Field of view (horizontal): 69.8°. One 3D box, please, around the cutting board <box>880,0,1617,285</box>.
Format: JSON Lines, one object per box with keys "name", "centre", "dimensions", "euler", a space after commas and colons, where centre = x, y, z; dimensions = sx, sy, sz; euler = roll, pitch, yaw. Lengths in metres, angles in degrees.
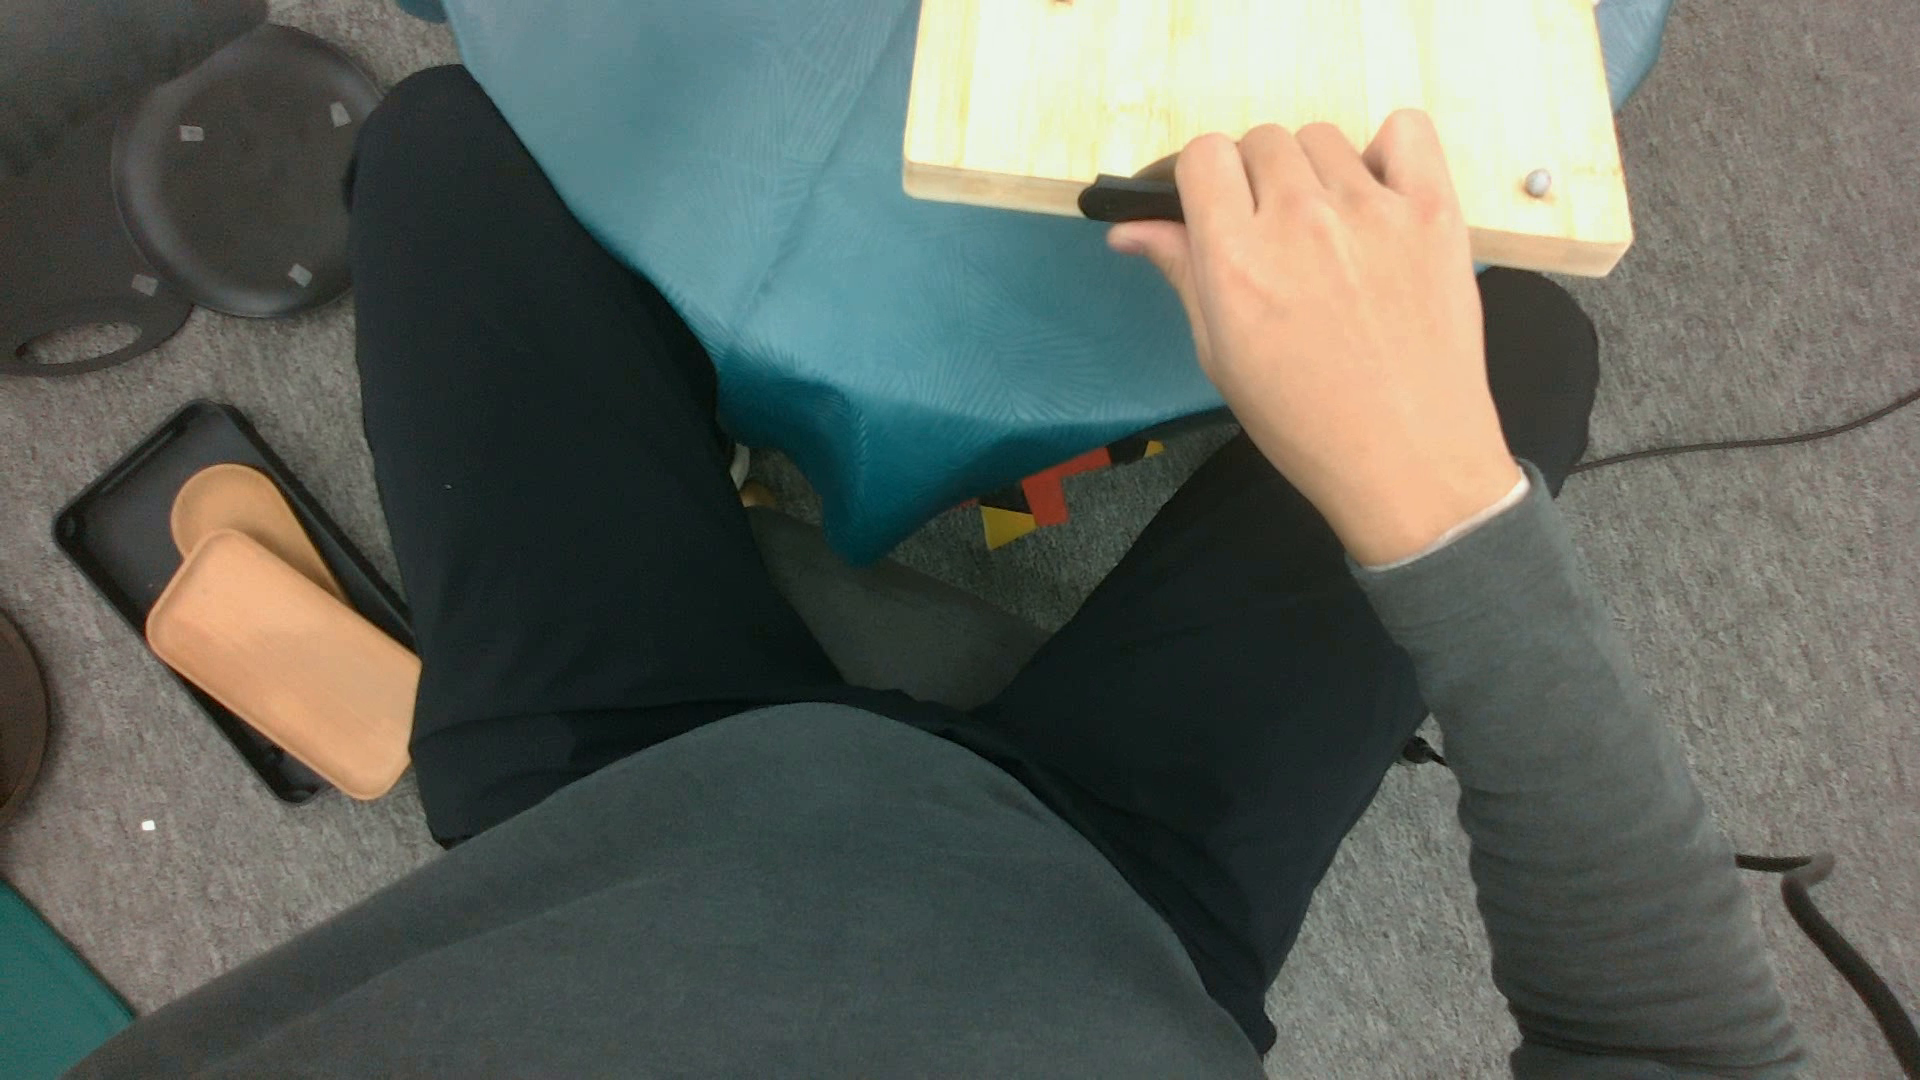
{"name": "cutting board", "centre": [0.110, -0.254, 0.533], "dimensions": [0.251, 0.023, 0.350], "euler": [5, 62, -2]}
